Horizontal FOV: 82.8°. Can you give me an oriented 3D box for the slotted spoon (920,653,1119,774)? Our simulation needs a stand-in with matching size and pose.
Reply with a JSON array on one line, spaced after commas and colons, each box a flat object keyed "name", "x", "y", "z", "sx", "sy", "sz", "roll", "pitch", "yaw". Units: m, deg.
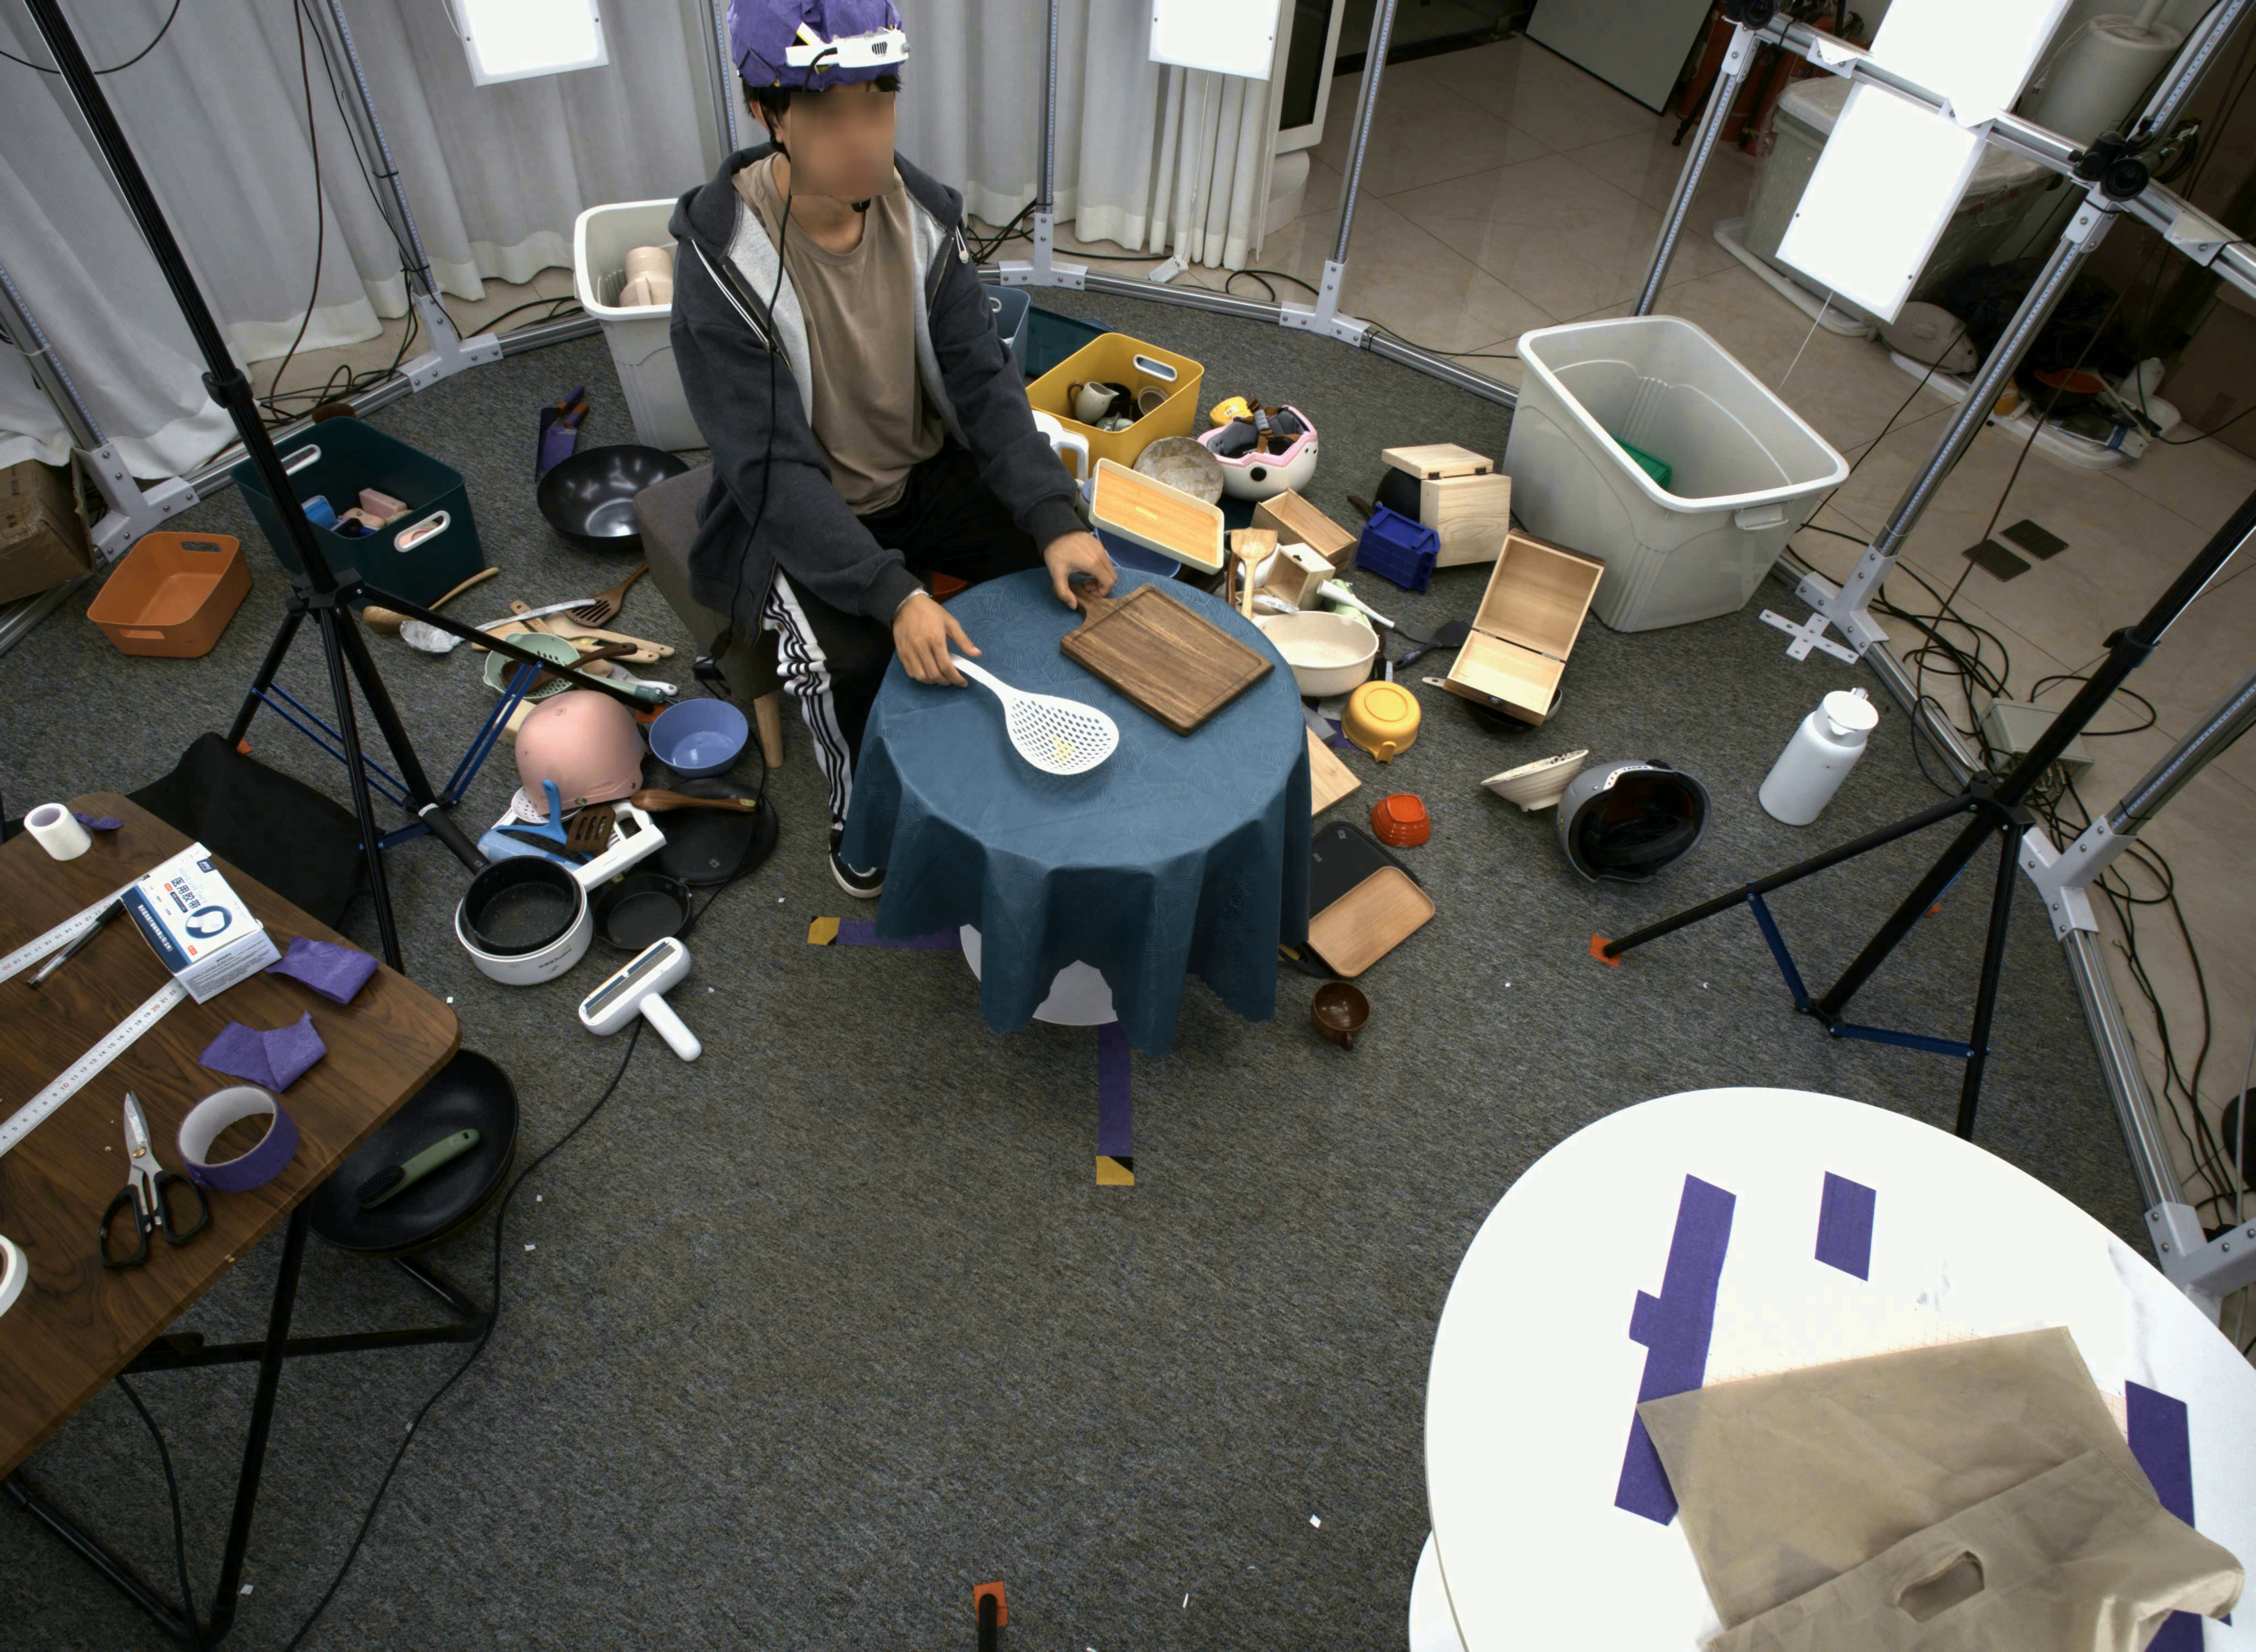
[{"name": "slotted spoon", "x": -0.163, "y": -0.170, "z": 1.776, "sx": 0.353, "sy": 0.049, "sz": 0.138, "roll": 37, "pitch": 59, "yaw": 25}]

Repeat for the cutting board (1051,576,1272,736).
[{"name": "cutting board", "x": 0.019, "y": -0.276, "z": 1.894, "sx": 0.357, "sy": 0.022, "sz": 0.203, "roll": 37, "pitch": 56, "yaw": 25}]
